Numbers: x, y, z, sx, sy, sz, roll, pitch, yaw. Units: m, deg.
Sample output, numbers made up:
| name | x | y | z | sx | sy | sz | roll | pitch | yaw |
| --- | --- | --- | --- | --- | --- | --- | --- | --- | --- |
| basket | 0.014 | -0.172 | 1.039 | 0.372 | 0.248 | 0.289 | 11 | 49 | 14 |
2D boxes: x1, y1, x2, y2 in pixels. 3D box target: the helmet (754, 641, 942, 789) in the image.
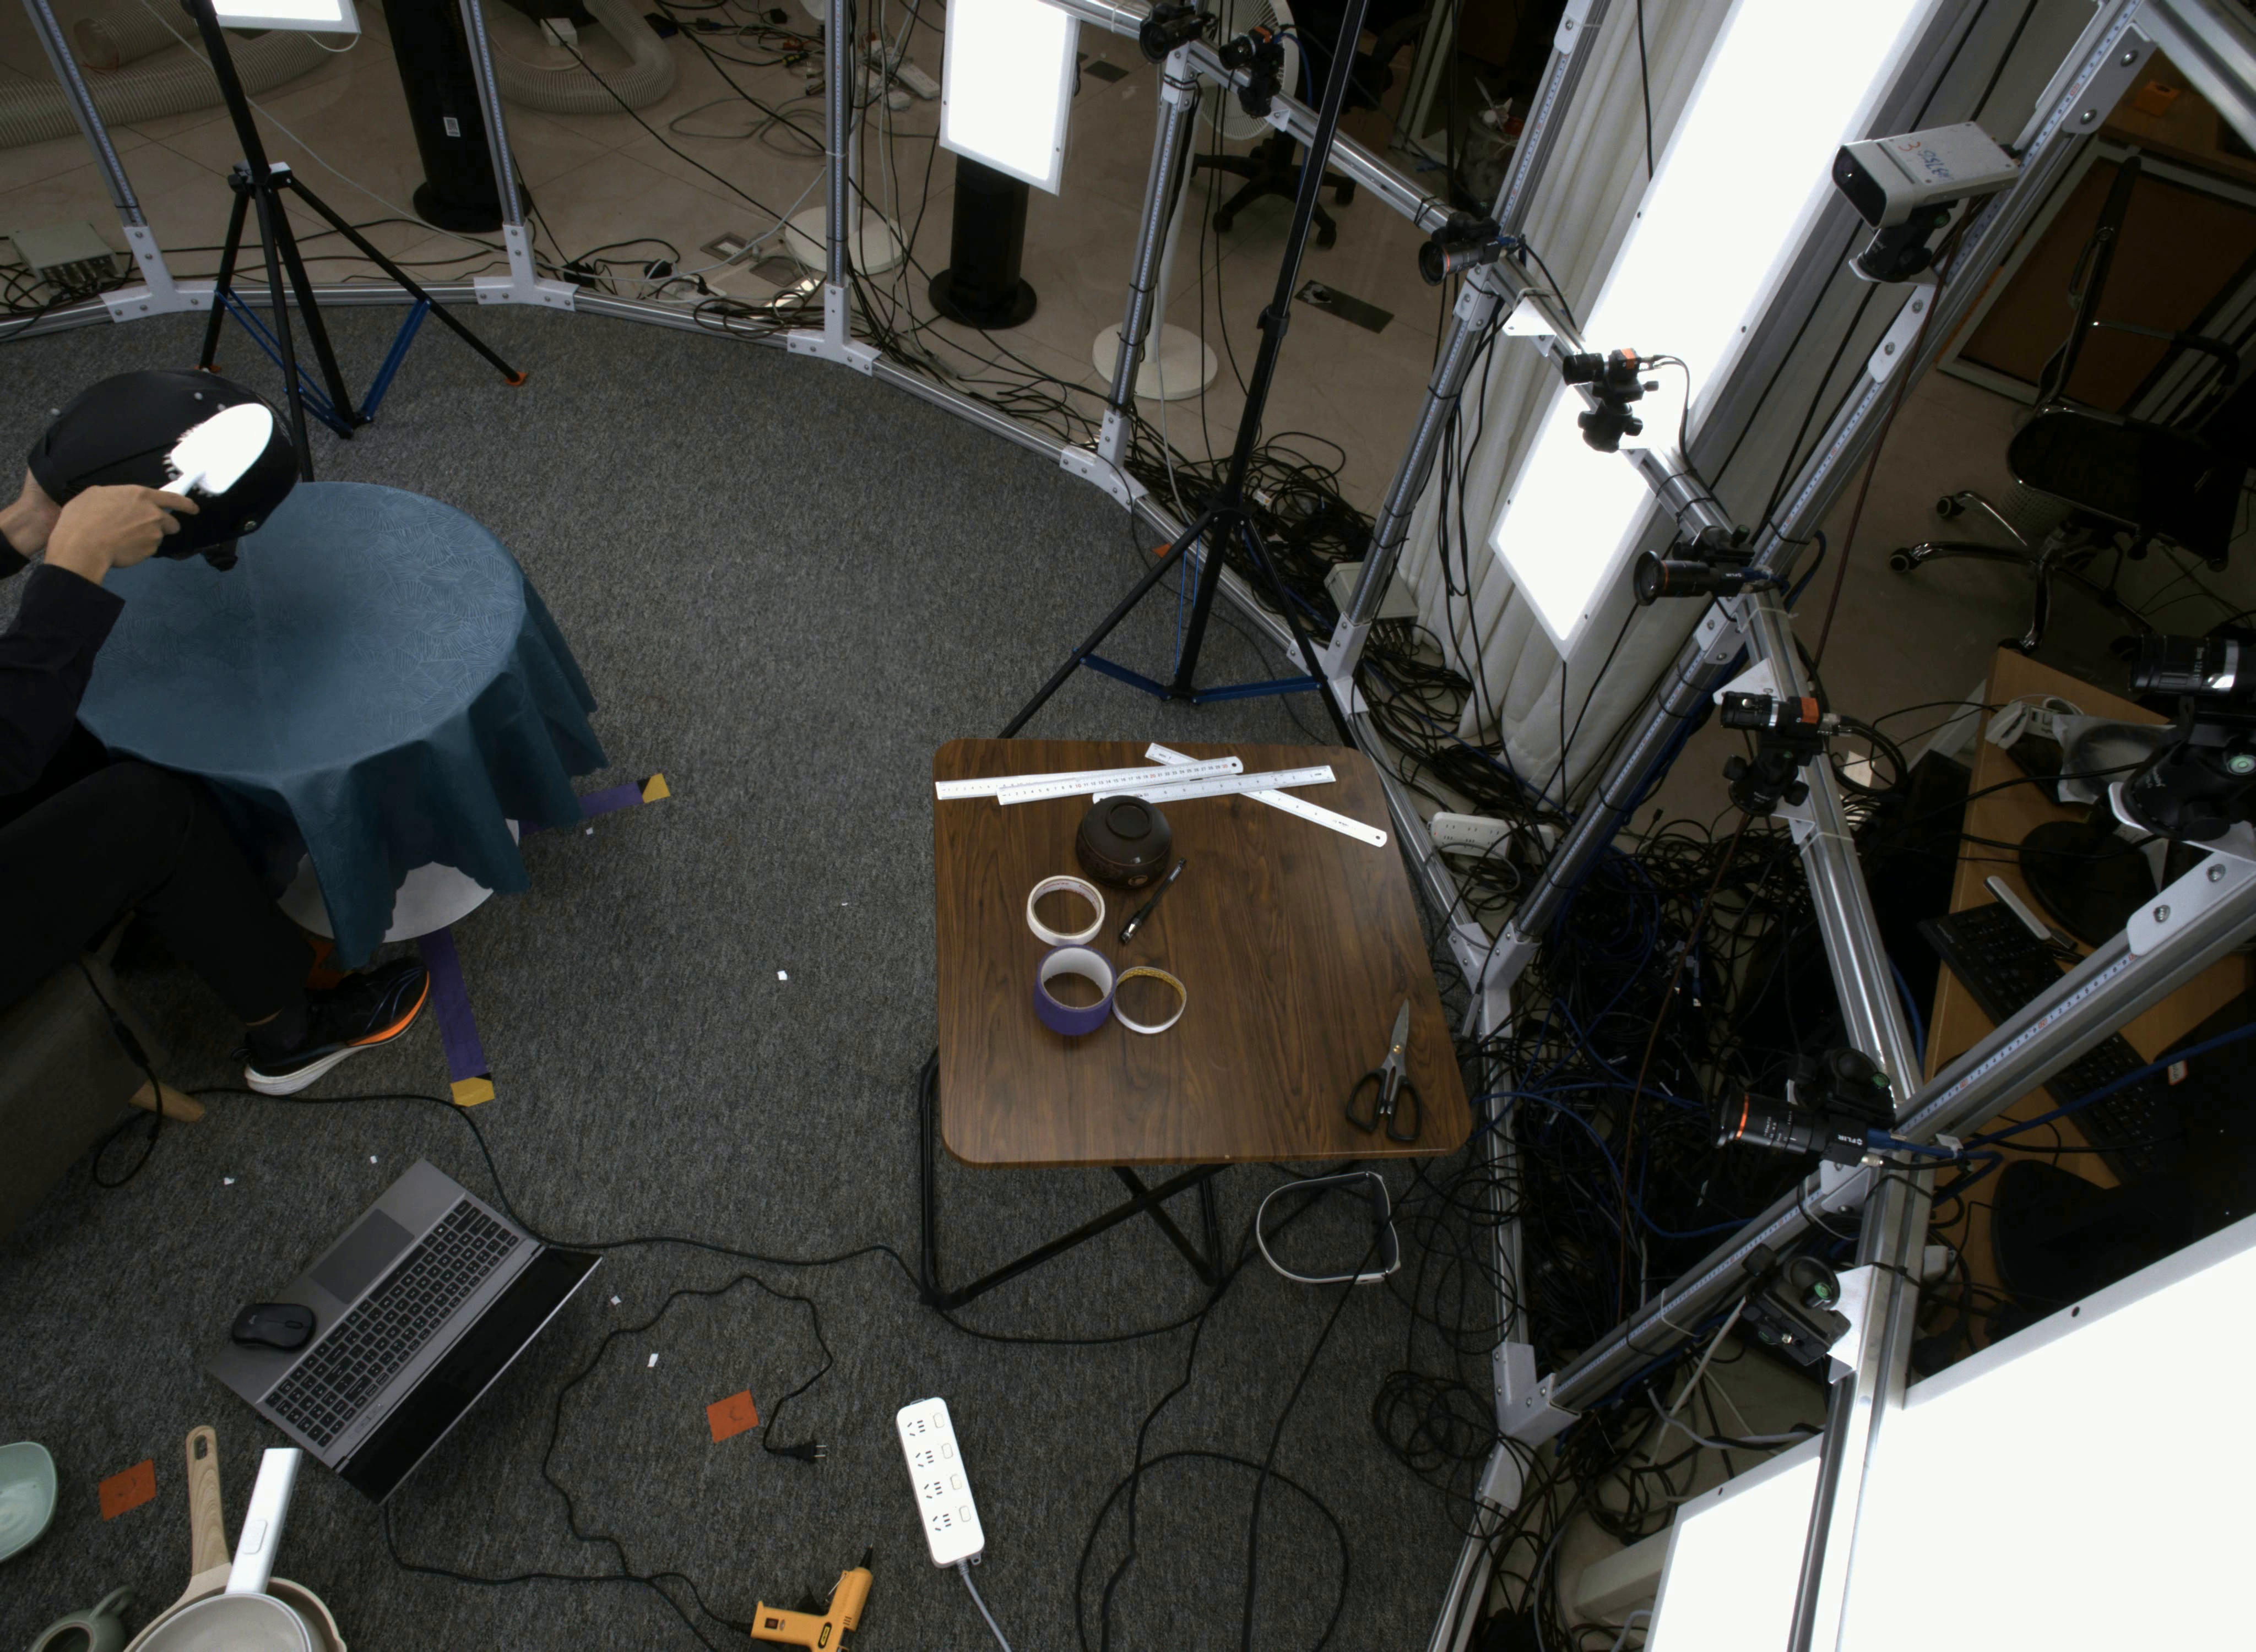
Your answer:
| name | x | y | z | sx | sy | sz | roll | pitch | yaw |
| --- | --- | --- | --- | --- | --- | --- | --- | --- | --- |
| helmet | -0.431 | -0.192 | 2.001 | 0.275 | 0.177 | 0.241 | -4 | 55 | -7 |

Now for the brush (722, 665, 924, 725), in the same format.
| name | x | y | z | sx | sy | sz | roll | pitch | yaw |
| --- | --- | --- | --- | --- | --- | --- | --- | --- | --- |
| brush | -0.439 | -0.176 | 1.851 | 0.329 | 0.087 | 0.080 | -19 | 43 | -40 |
